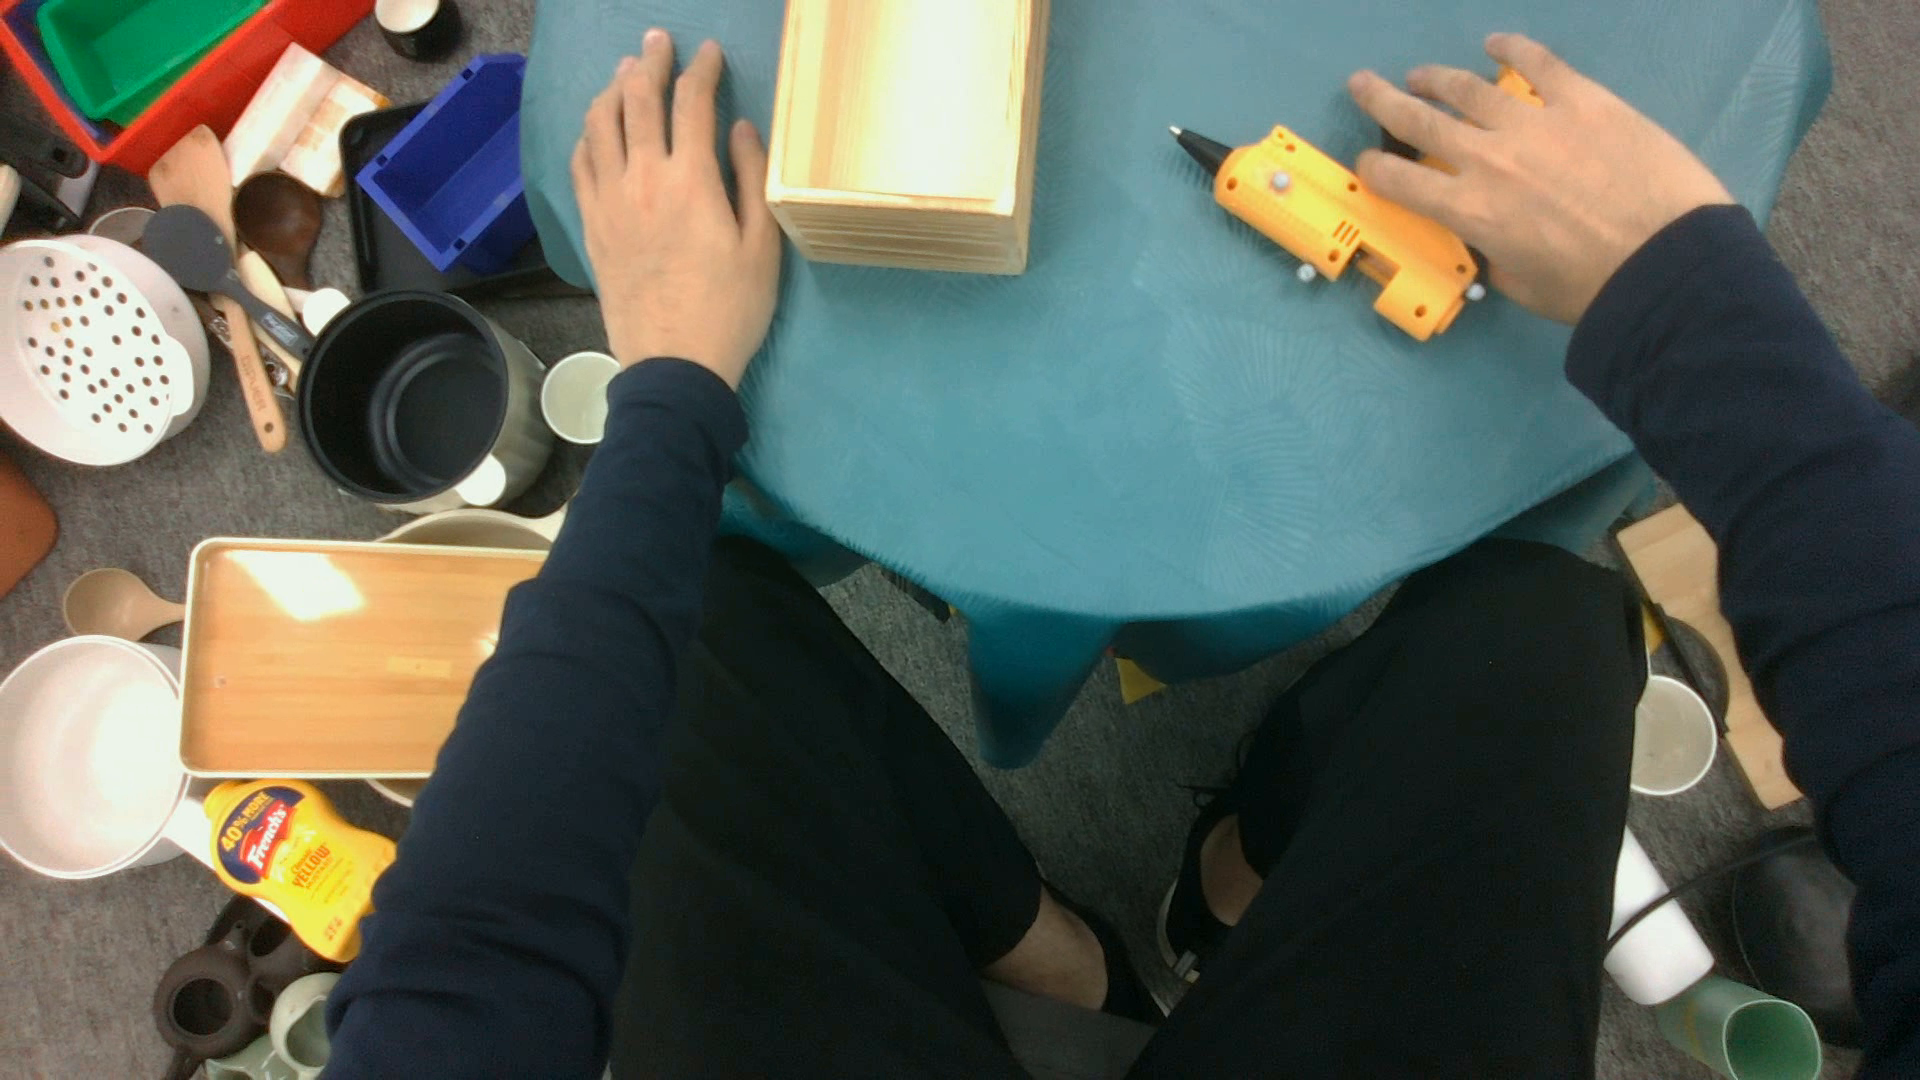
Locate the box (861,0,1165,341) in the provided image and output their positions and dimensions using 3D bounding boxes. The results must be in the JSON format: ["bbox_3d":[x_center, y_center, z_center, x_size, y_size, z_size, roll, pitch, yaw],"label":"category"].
[{"bbox_3d":[0.032,-0.211,0.648,0.107,0.080,0.212,8,80,11],"label":"box"}]

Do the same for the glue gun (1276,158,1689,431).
[{"bbox_3d":[0.230,-0.143,0.628,0.151,0.031,0.133,37,87,11],"label":"glue gun"}]
